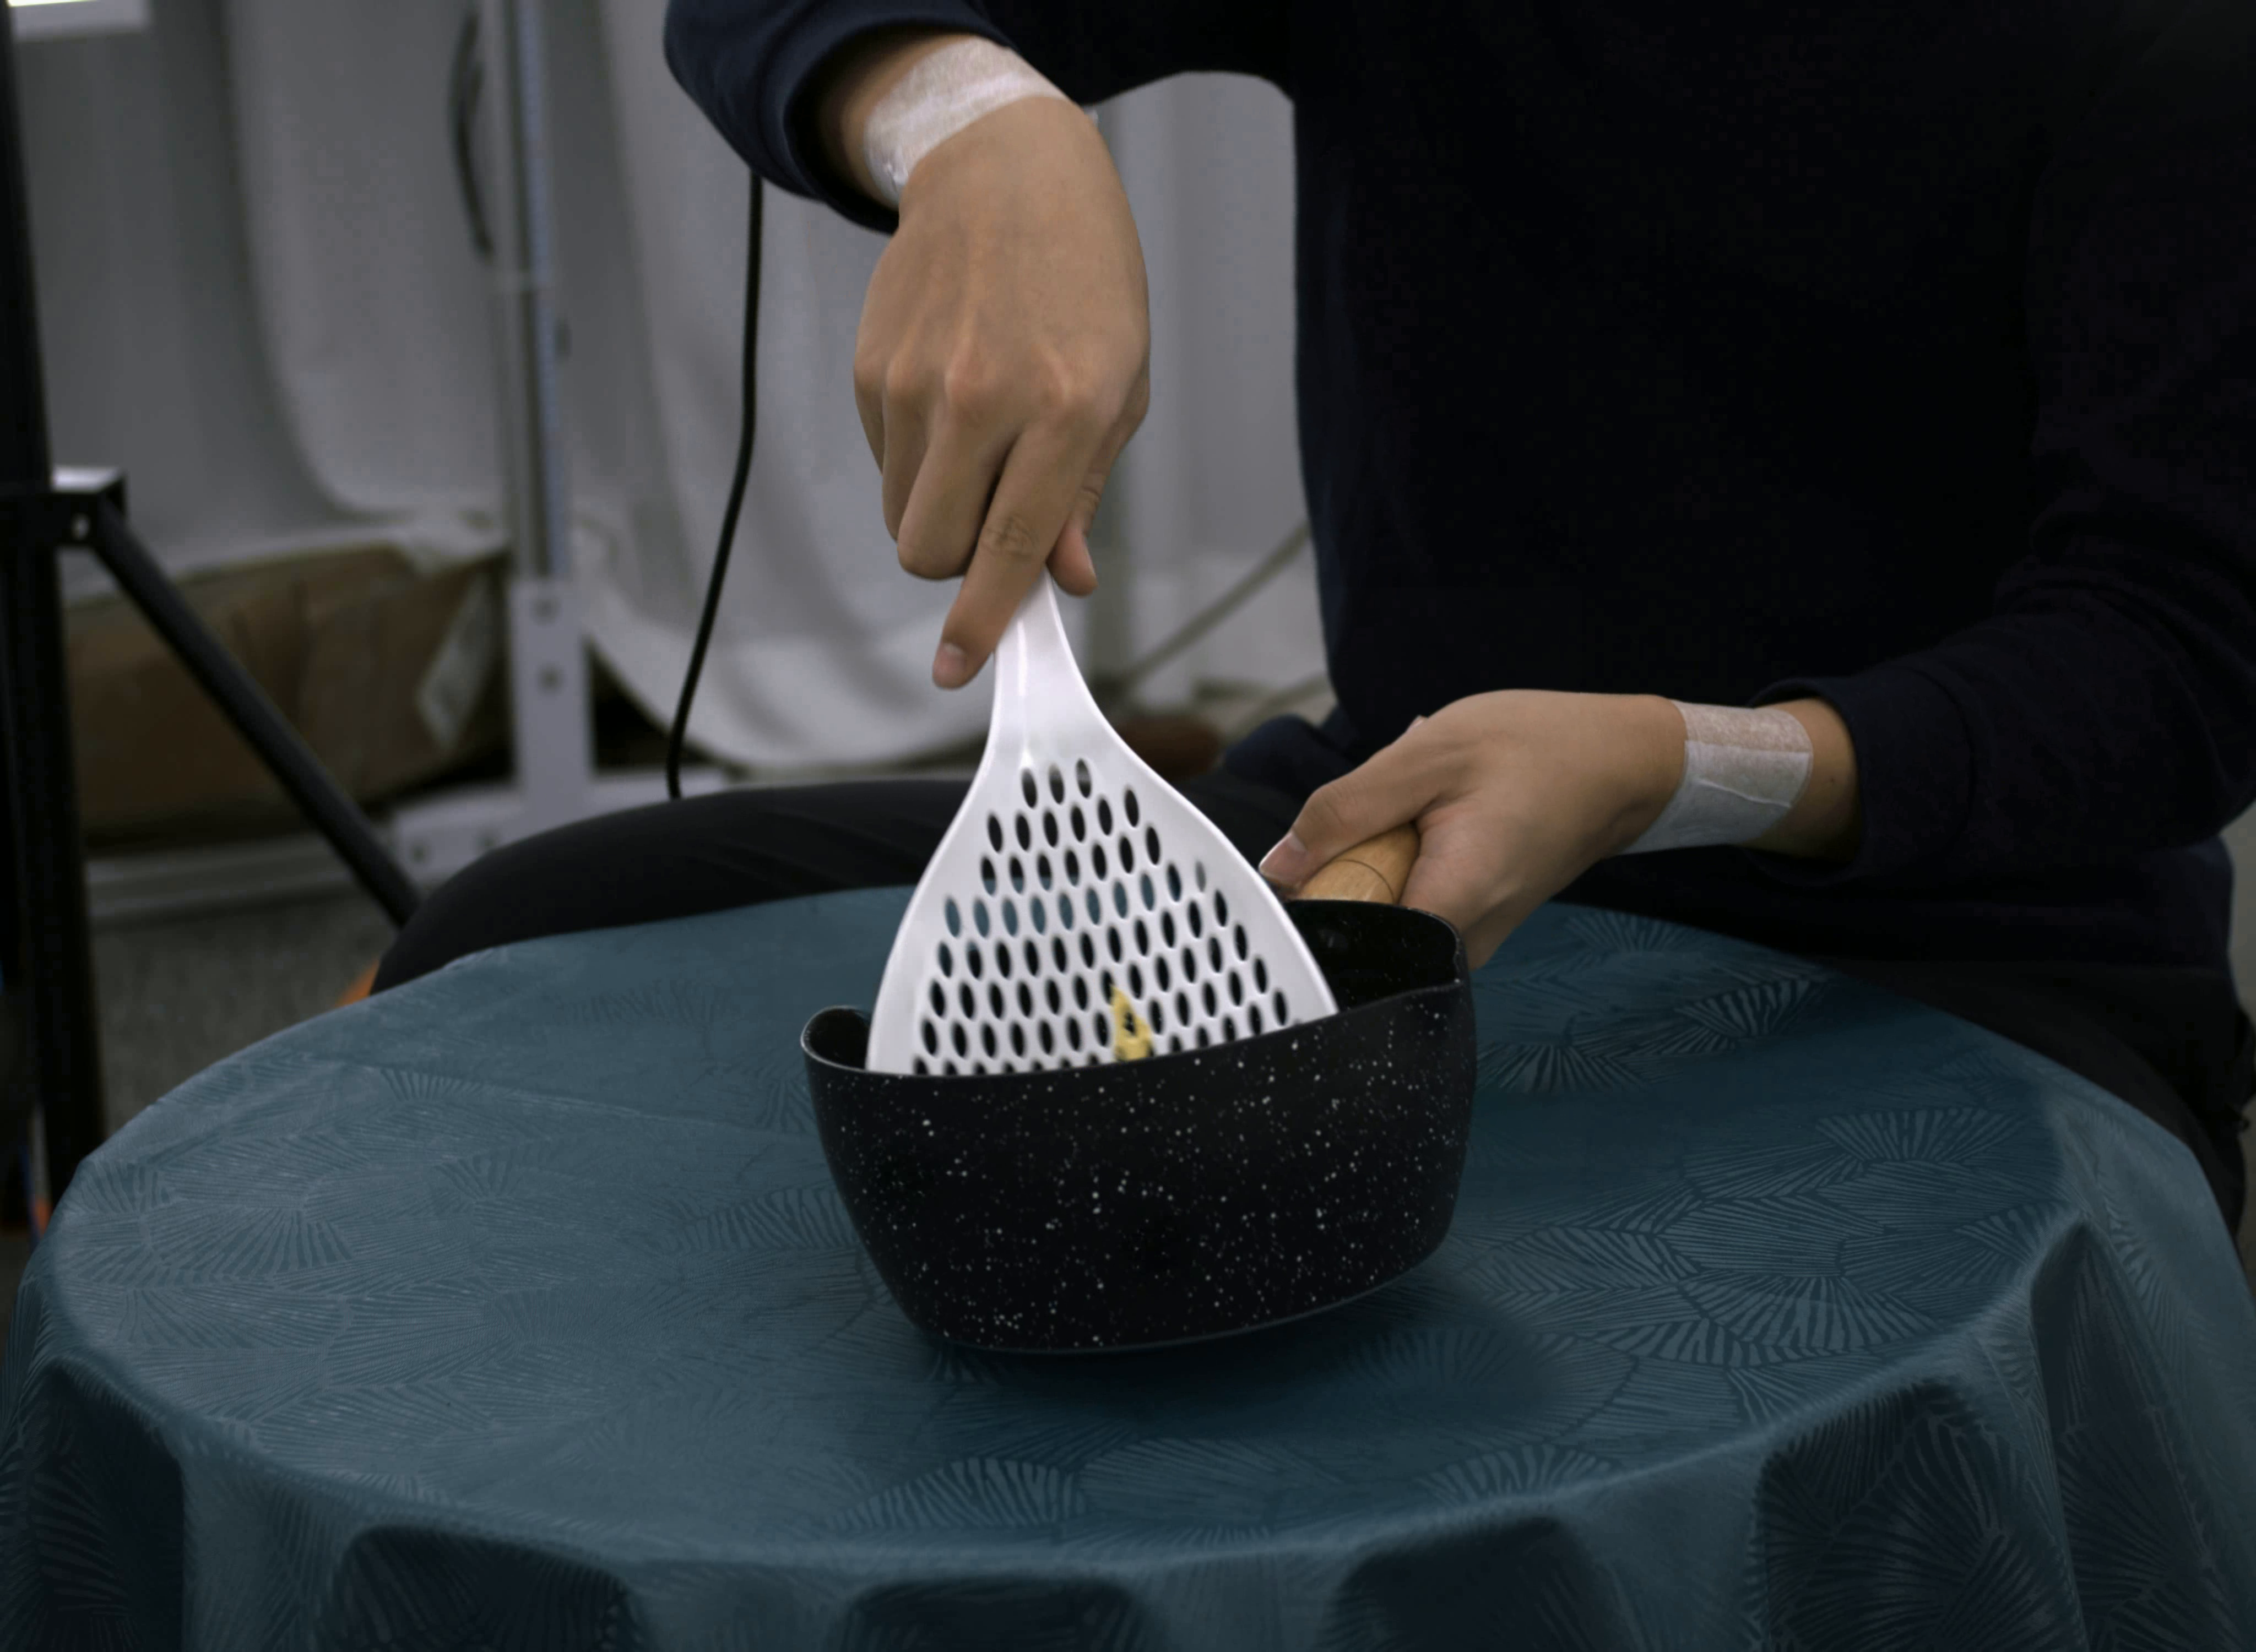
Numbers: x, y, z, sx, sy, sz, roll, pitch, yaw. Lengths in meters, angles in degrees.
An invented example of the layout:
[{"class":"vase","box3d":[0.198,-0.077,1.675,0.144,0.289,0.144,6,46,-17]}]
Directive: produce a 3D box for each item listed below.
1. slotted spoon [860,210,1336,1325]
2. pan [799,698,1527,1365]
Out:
[{"class":"slotted spoon","box3d":[-0.025,-0.024,1.484,0.136,0.352,0.050,-12,-18,2]},{"class":"pan","box3d":[0.041,0.054,1.520,0.211,0.108,0.337,-4,13,29]}]
